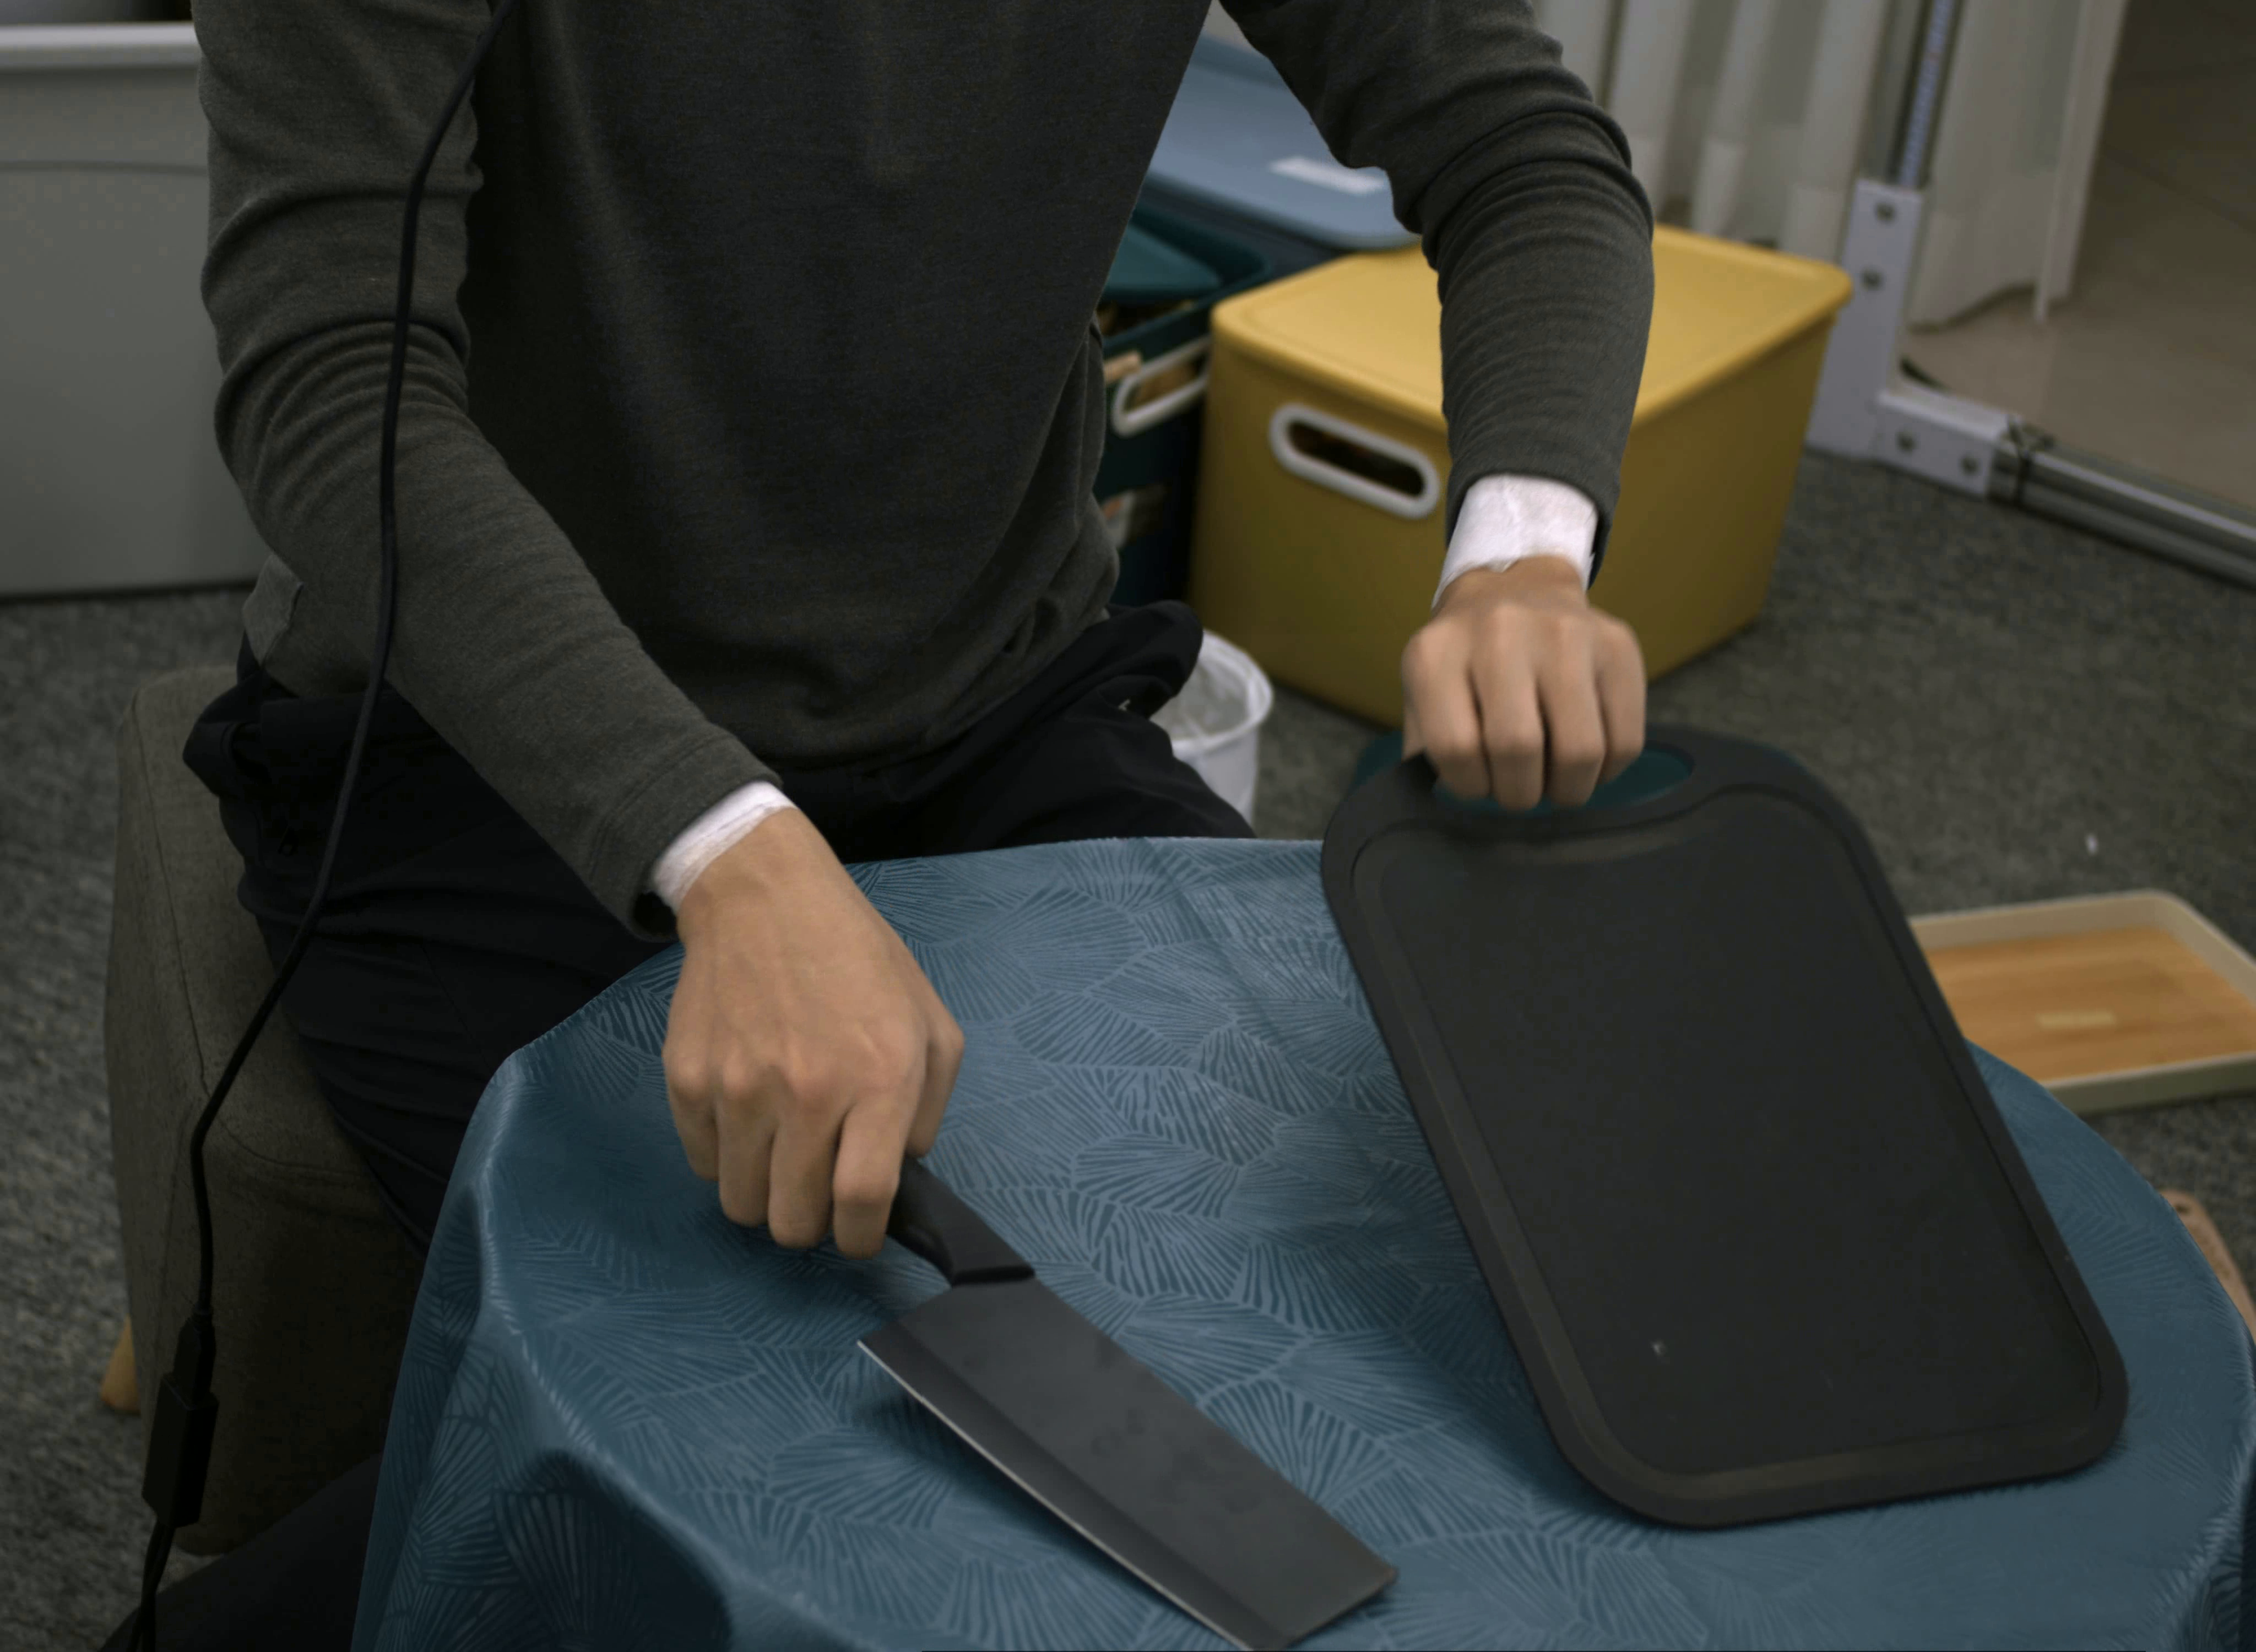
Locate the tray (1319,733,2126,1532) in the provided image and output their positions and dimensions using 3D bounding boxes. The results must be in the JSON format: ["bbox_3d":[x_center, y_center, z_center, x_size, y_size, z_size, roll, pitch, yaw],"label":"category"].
[{"bbox_3d":[0.191,0.091,1.771,0.210,0.010,0.328,-5,51,-22],"label":"tray"}]

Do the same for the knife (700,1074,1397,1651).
[{"bbox_3d":[-0.038,0.164,1.673,0.080,0.021,0.305,-20,43,-34],"label":"knife"}]
